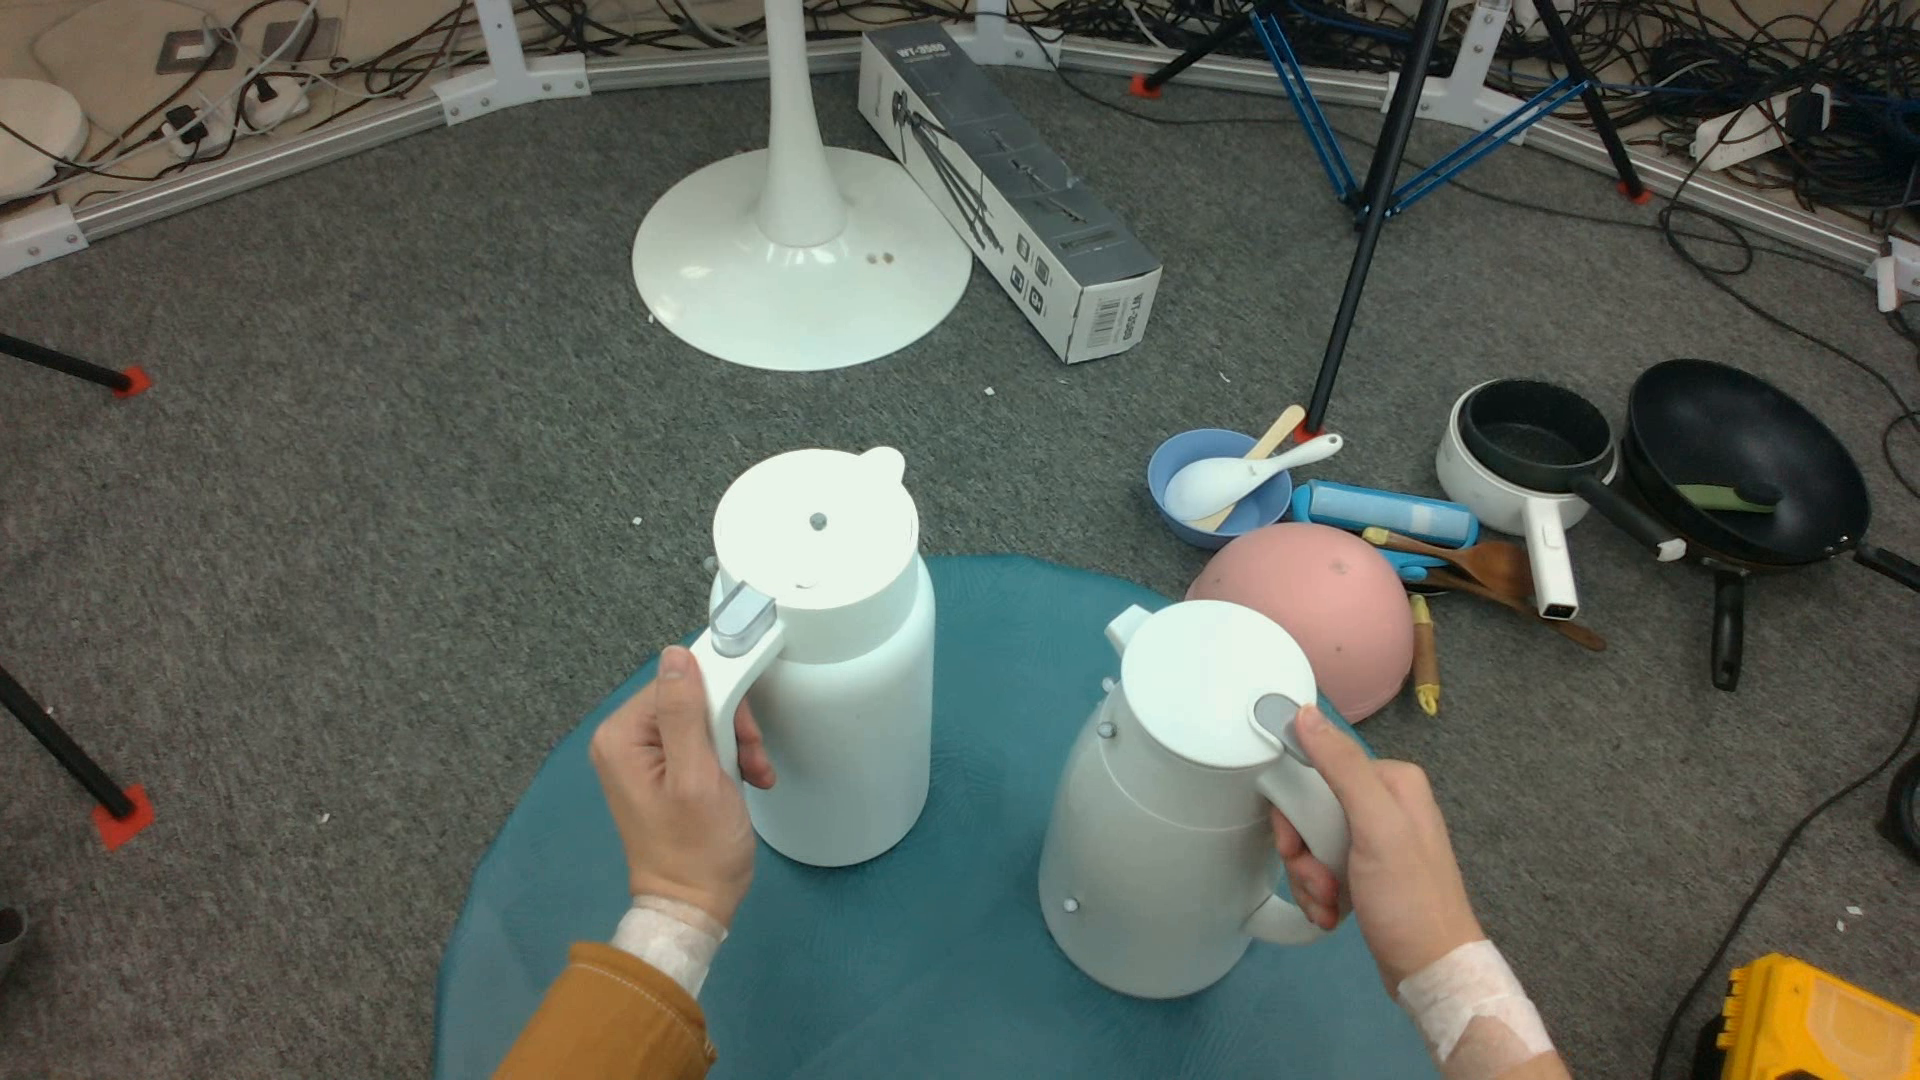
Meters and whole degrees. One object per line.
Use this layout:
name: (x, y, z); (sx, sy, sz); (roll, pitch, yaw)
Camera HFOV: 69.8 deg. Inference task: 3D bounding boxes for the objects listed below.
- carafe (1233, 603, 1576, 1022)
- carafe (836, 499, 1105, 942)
carafe: (0.224, 0.146, 0.701); (0.168, 0.247, 0.133); (32, 62, 30)
carafe: (0.007, 0.124, 0.745); (0.124, 0.267, 0.173); (17, 55, 21)
